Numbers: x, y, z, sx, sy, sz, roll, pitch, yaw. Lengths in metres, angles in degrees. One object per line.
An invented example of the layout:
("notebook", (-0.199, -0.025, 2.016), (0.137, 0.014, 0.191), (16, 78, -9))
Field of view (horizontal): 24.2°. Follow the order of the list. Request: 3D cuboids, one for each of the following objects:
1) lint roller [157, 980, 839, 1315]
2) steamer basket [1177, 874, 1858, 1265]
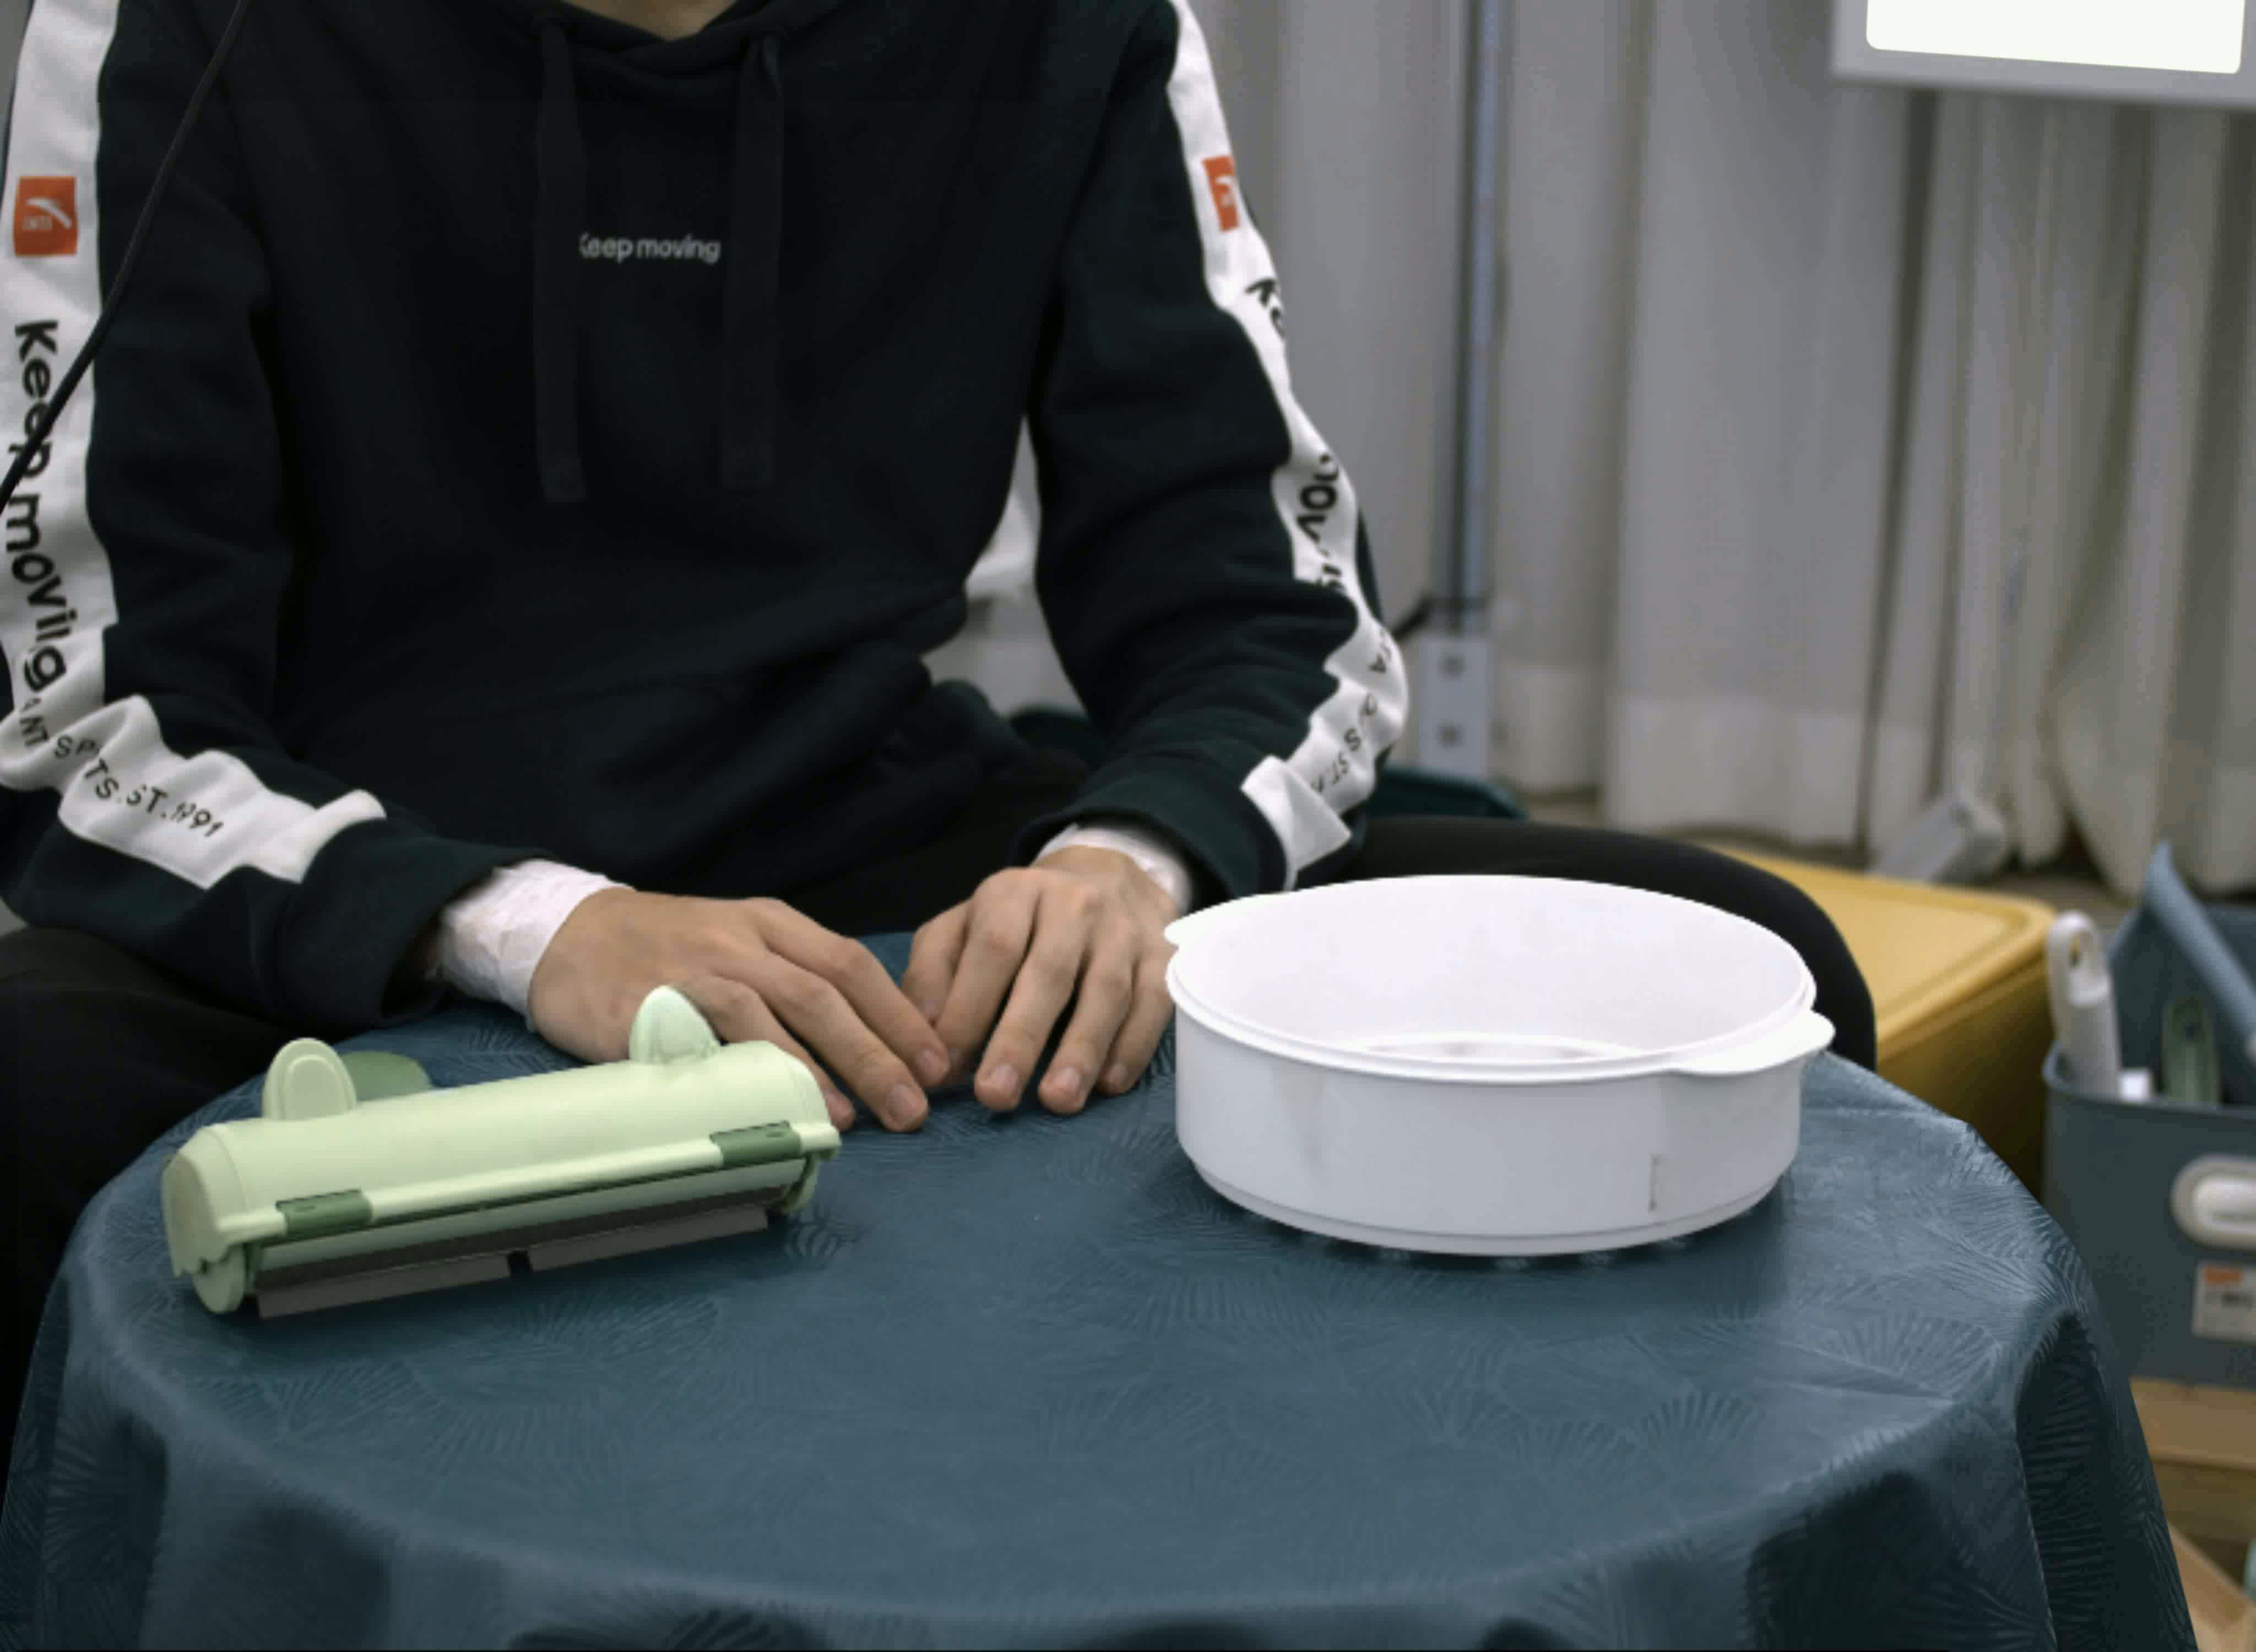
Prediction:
("lint roller", (-0.210, 0.079, 1.590), (0.199, 0.083, 0.181), (-8, 22, -28))
("steamer basket", (0.117, 0.075, 1.630), (0.227, 0.070, 0.203), (14, 21, 37))
